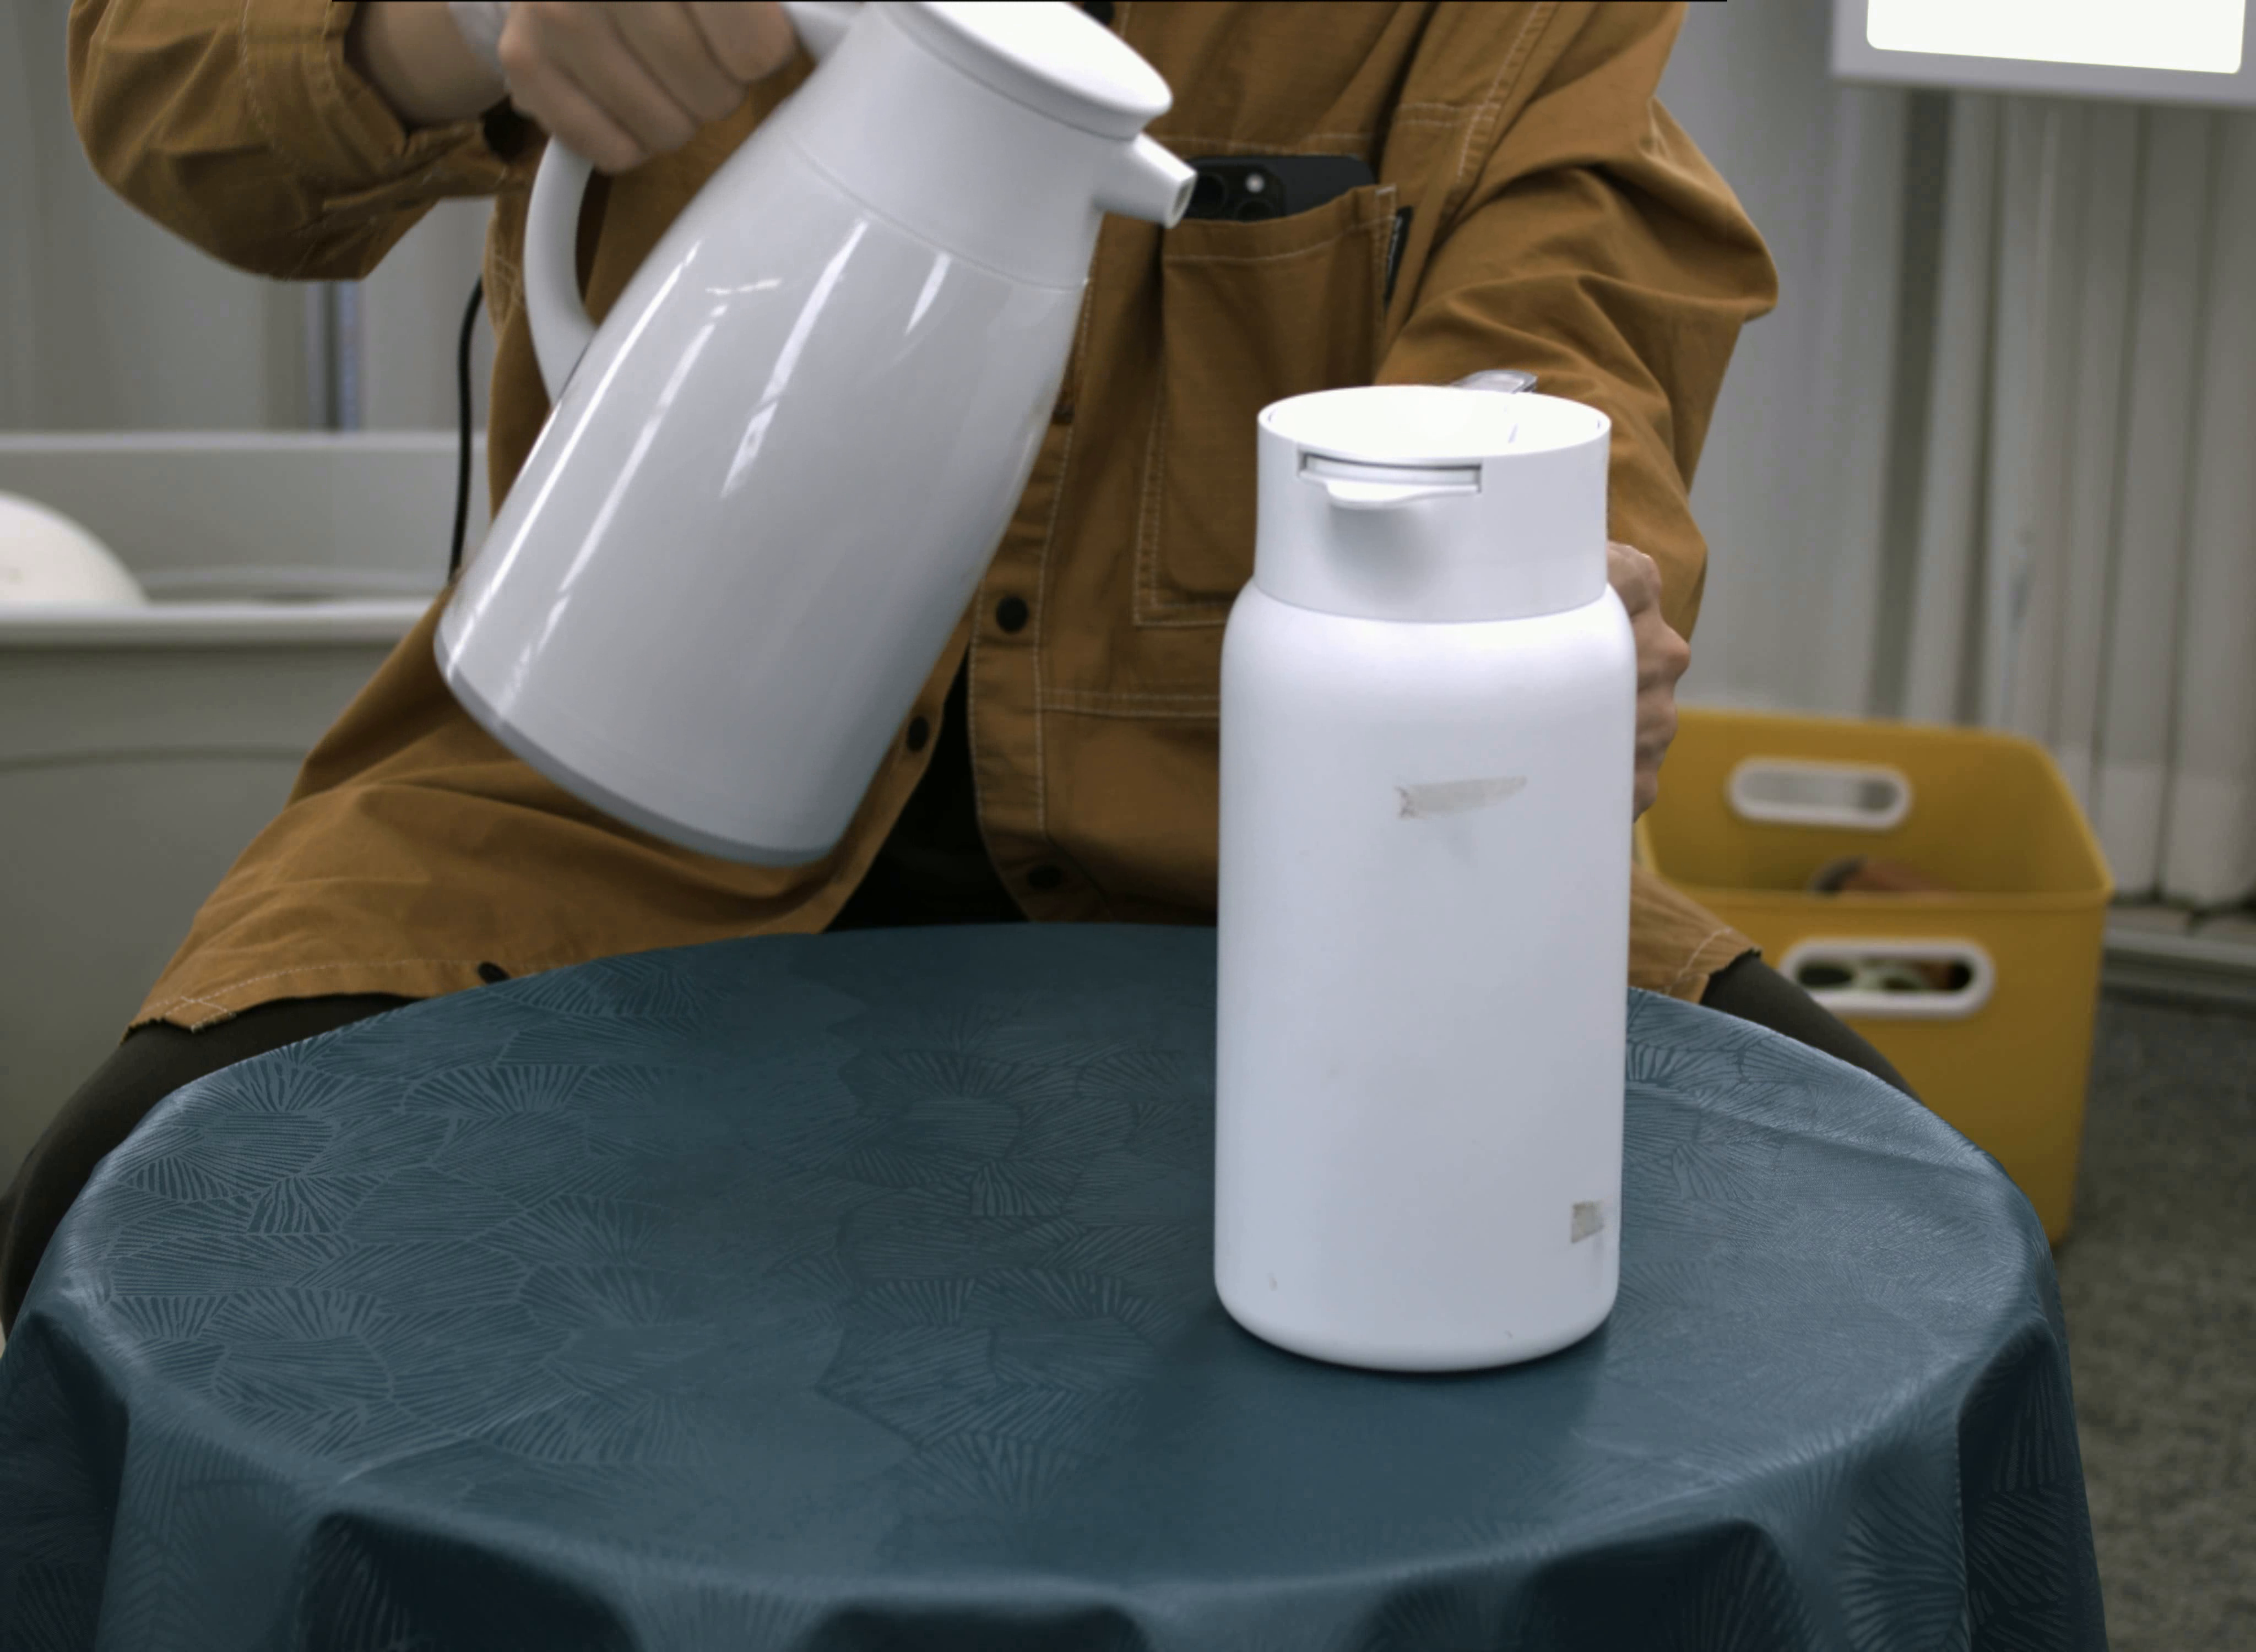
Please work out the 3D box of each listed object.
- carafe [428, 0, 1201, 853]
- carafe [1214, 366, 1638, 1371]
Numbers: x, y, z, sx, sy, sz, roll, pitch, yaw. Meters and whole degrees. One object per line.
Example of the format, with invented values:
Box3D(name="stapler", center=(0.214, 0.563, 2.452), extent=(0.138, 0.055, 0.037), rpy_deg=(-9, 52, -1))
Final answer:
Box3D(name="carafe", center=(-0.099, -0.140, 1.474), extent=(0.167, 0.249, 0.132), rpy_deg=(32, 18, 4))
Box3D(name="carafe", center=(0.088, 0.007, 1.502), extent=(0.123, 0.271, 0.173), rpy_deg=(4, 16, 19))
